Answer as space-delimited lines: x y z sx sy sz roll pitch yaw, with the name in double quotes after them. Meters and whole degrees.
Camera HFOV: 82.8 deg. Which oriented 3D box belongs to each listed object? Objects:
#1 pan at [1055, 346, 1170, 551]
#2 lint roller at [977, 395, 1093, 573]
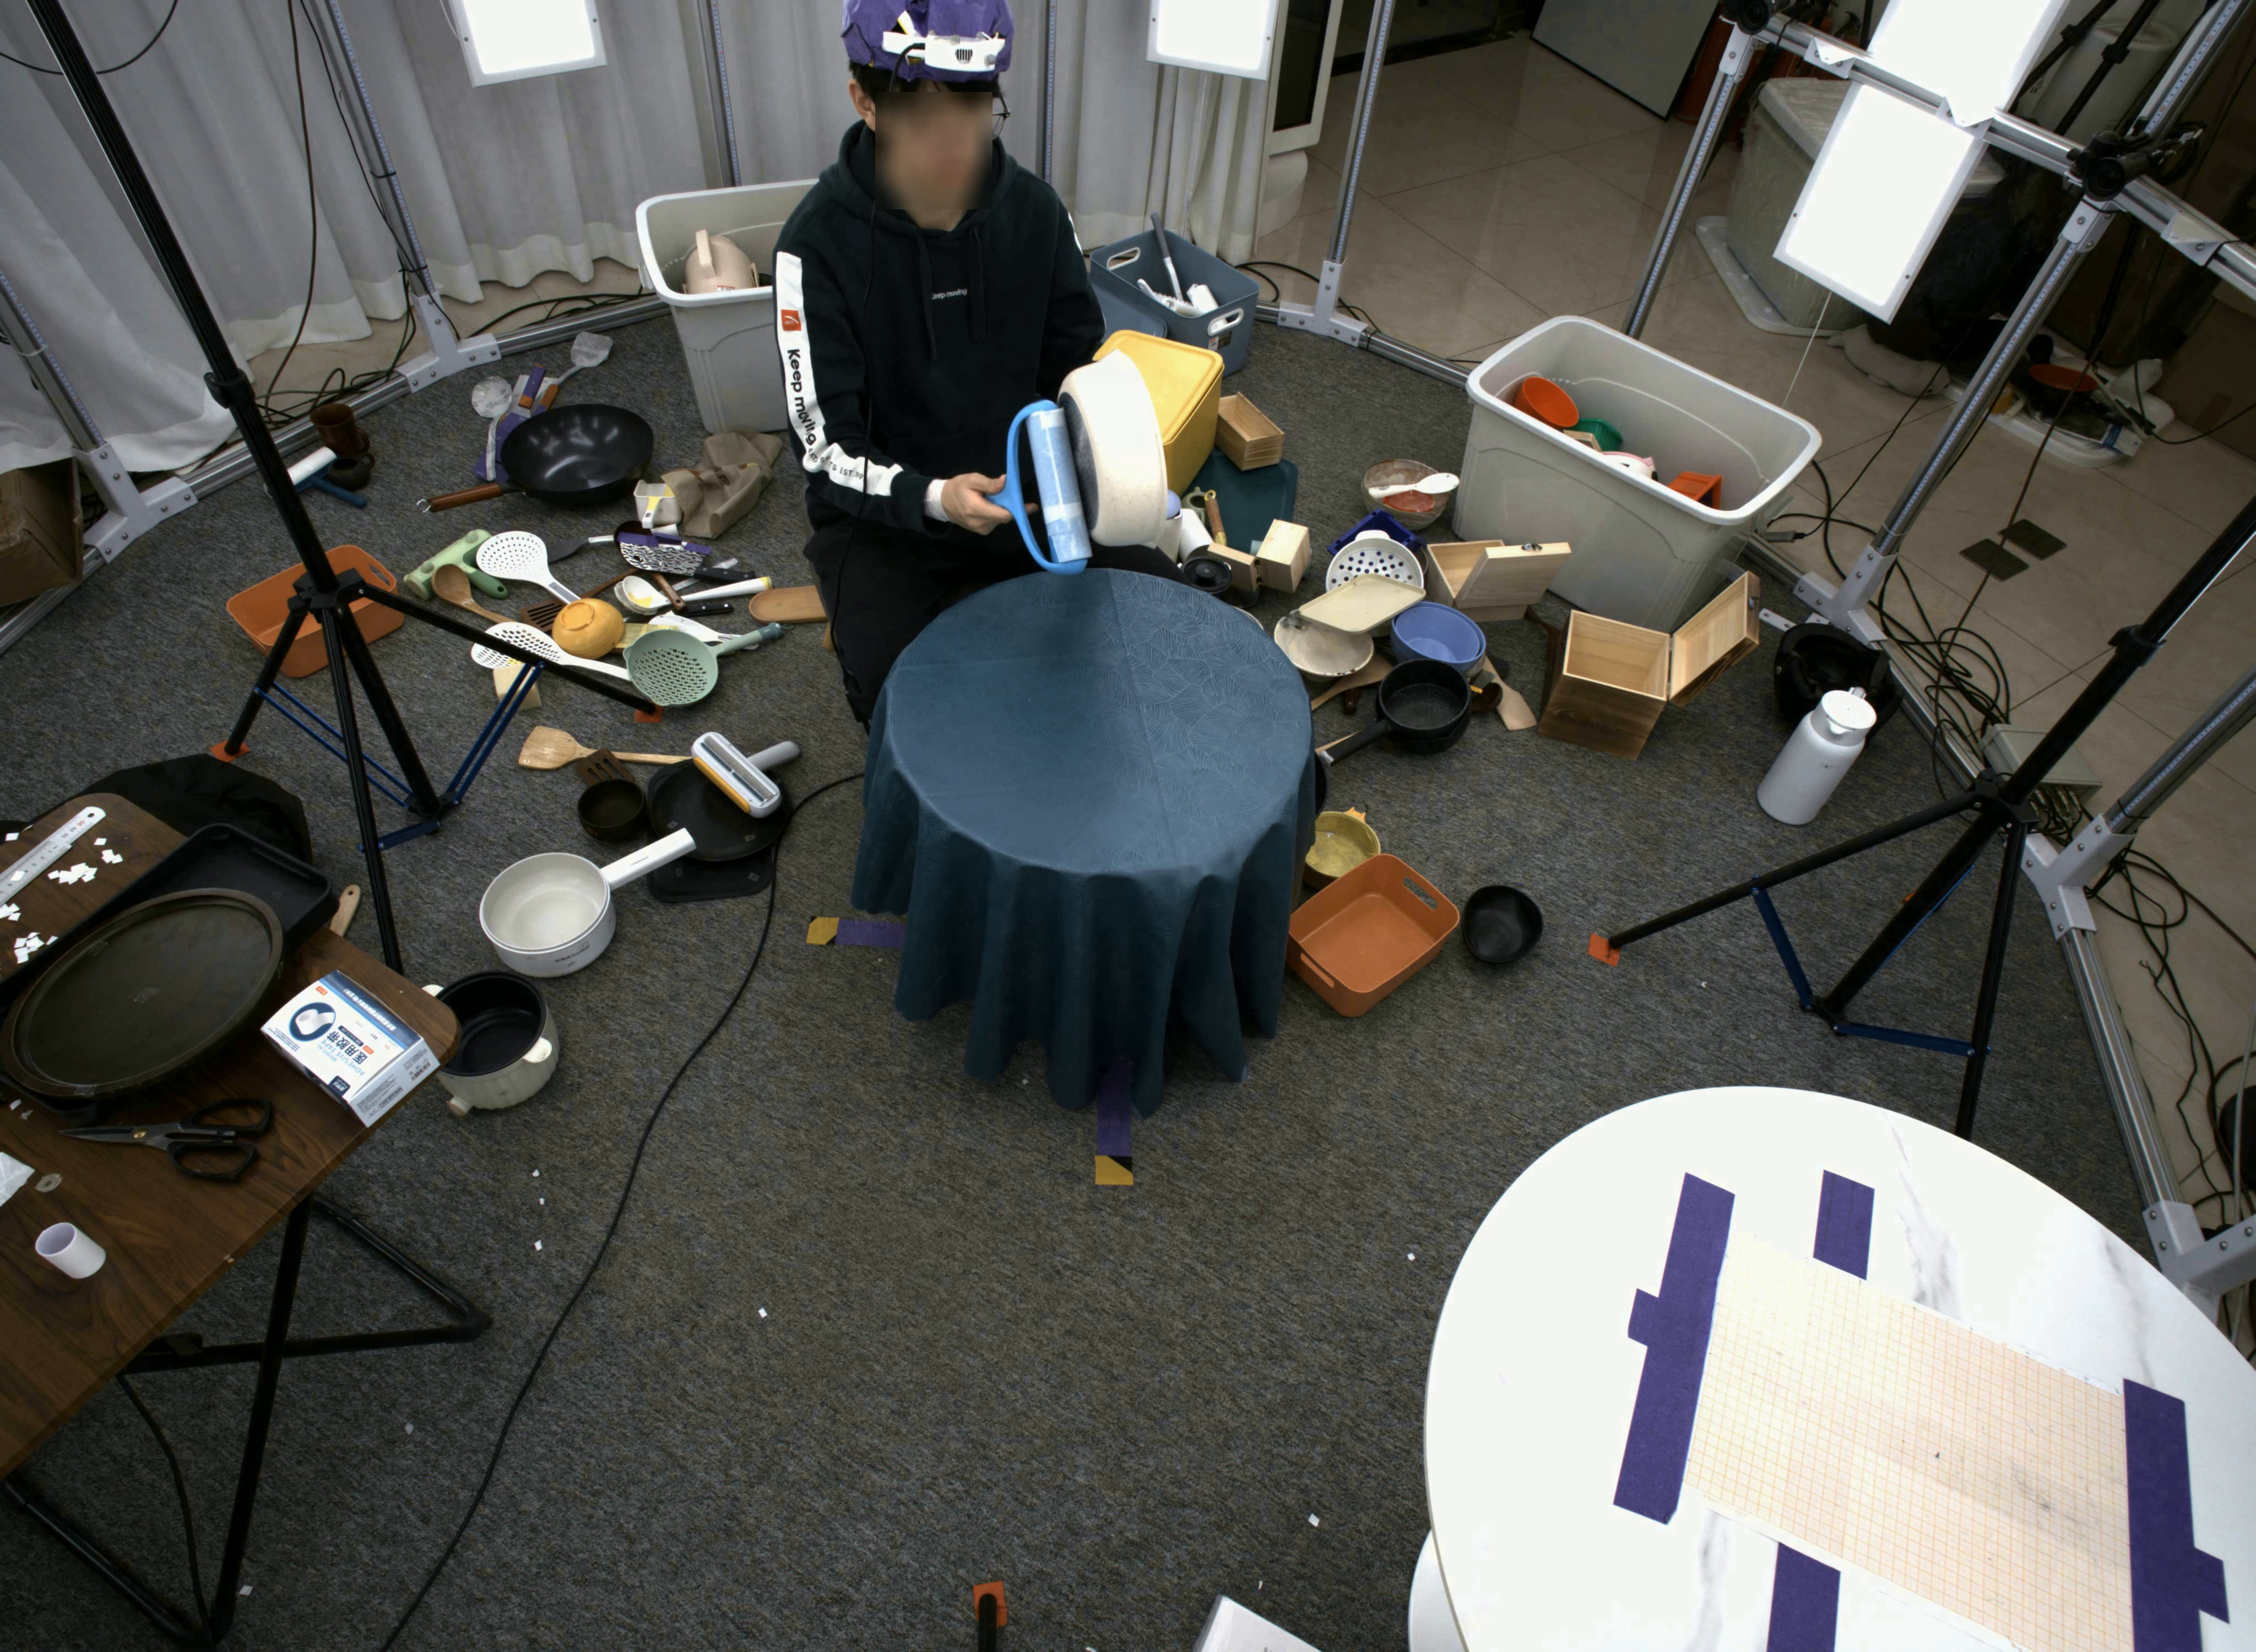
-0.044 -0.501 1.790 0.102 0.261 0.439 -16 12 -12 "pan"
-0.143 -0.441 1.730 0.180 0.227 0.068 -9 9 31 "lint roller"
